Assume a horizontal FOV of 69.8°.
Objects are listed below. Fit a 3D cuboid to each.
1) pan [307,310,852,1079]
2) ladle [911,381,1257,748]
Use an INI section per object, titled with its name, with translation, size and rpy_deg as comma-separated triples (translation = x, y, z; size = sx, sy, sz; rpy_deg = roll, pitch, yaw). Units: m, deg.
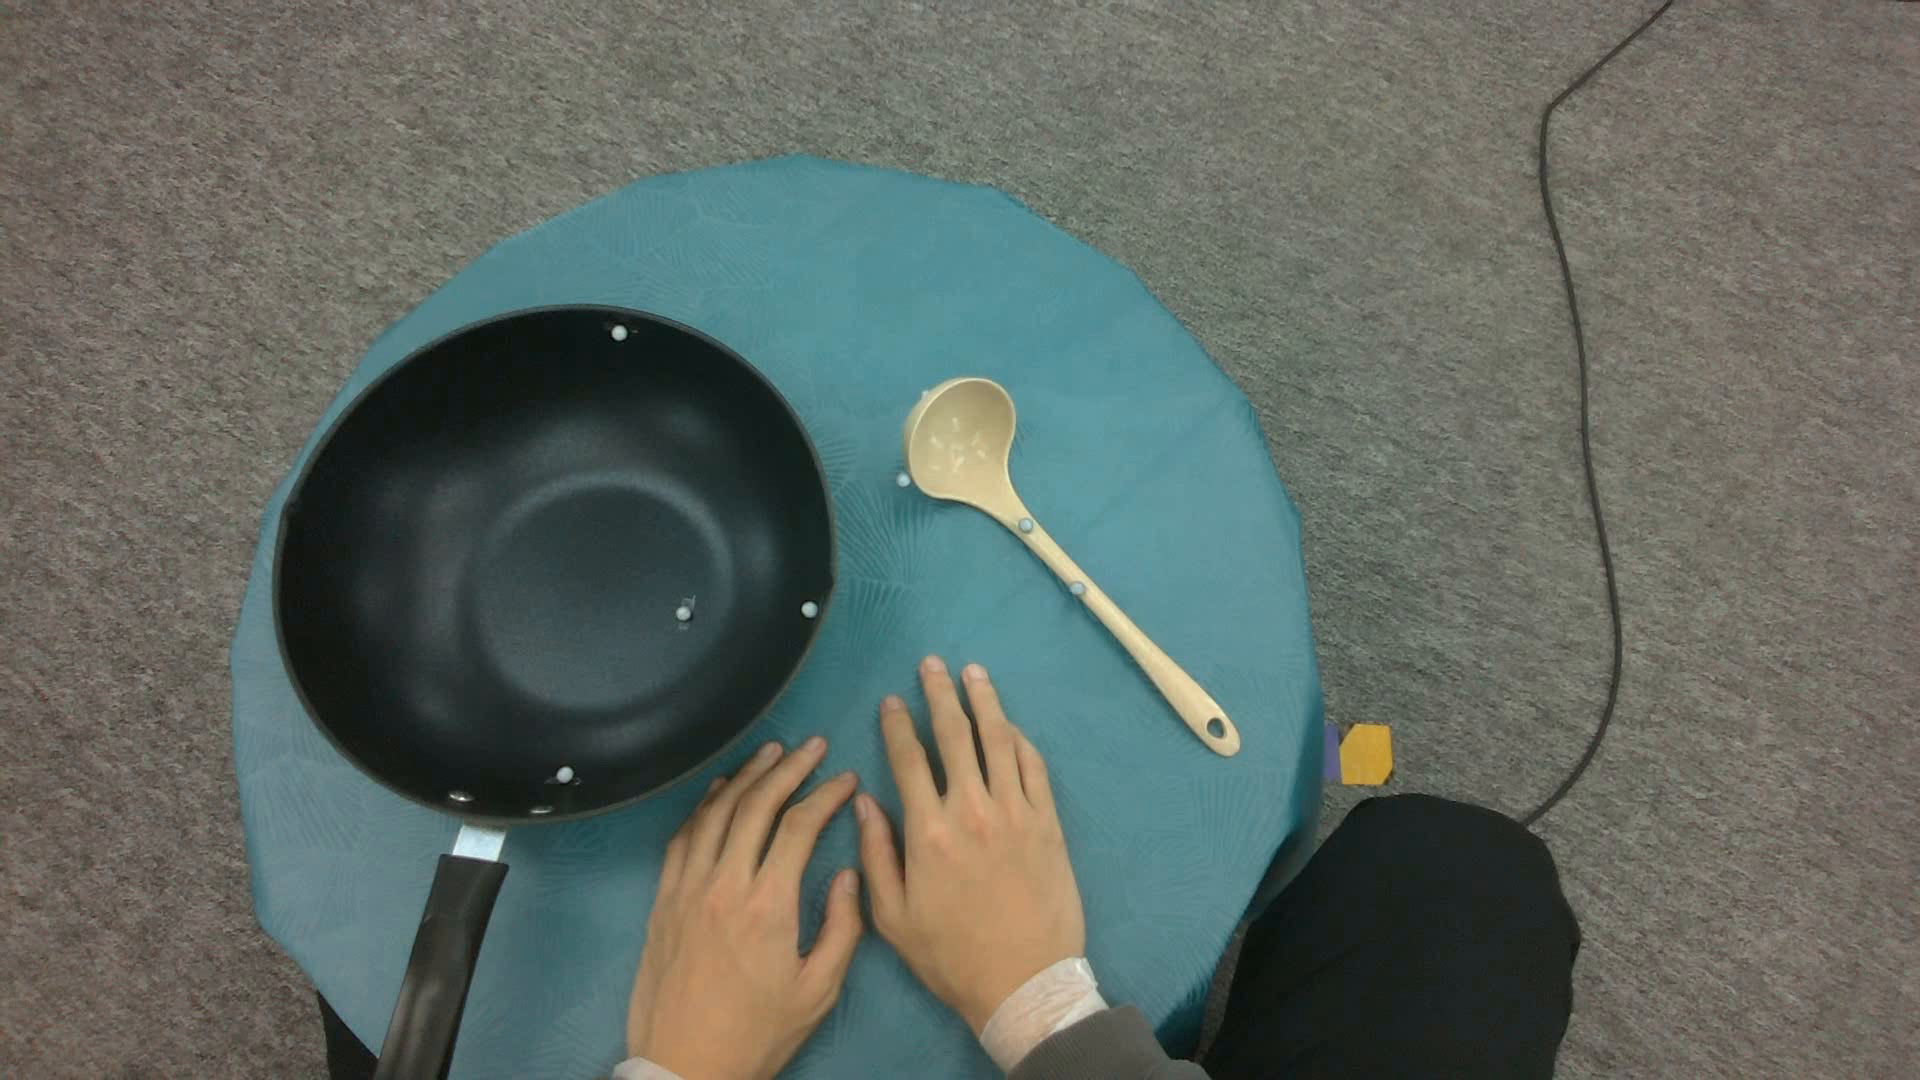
[pan]
translation = -0.213, 0.103, 0.719
size = 0.288, 0.086, 0.465
rpy_deg = 9, 71, 4
[ladle]
translation = 0.073, 0.012, 0.753
size = 0.072, 0.072, 0.254
rpy_deg = -41, 73, -15
